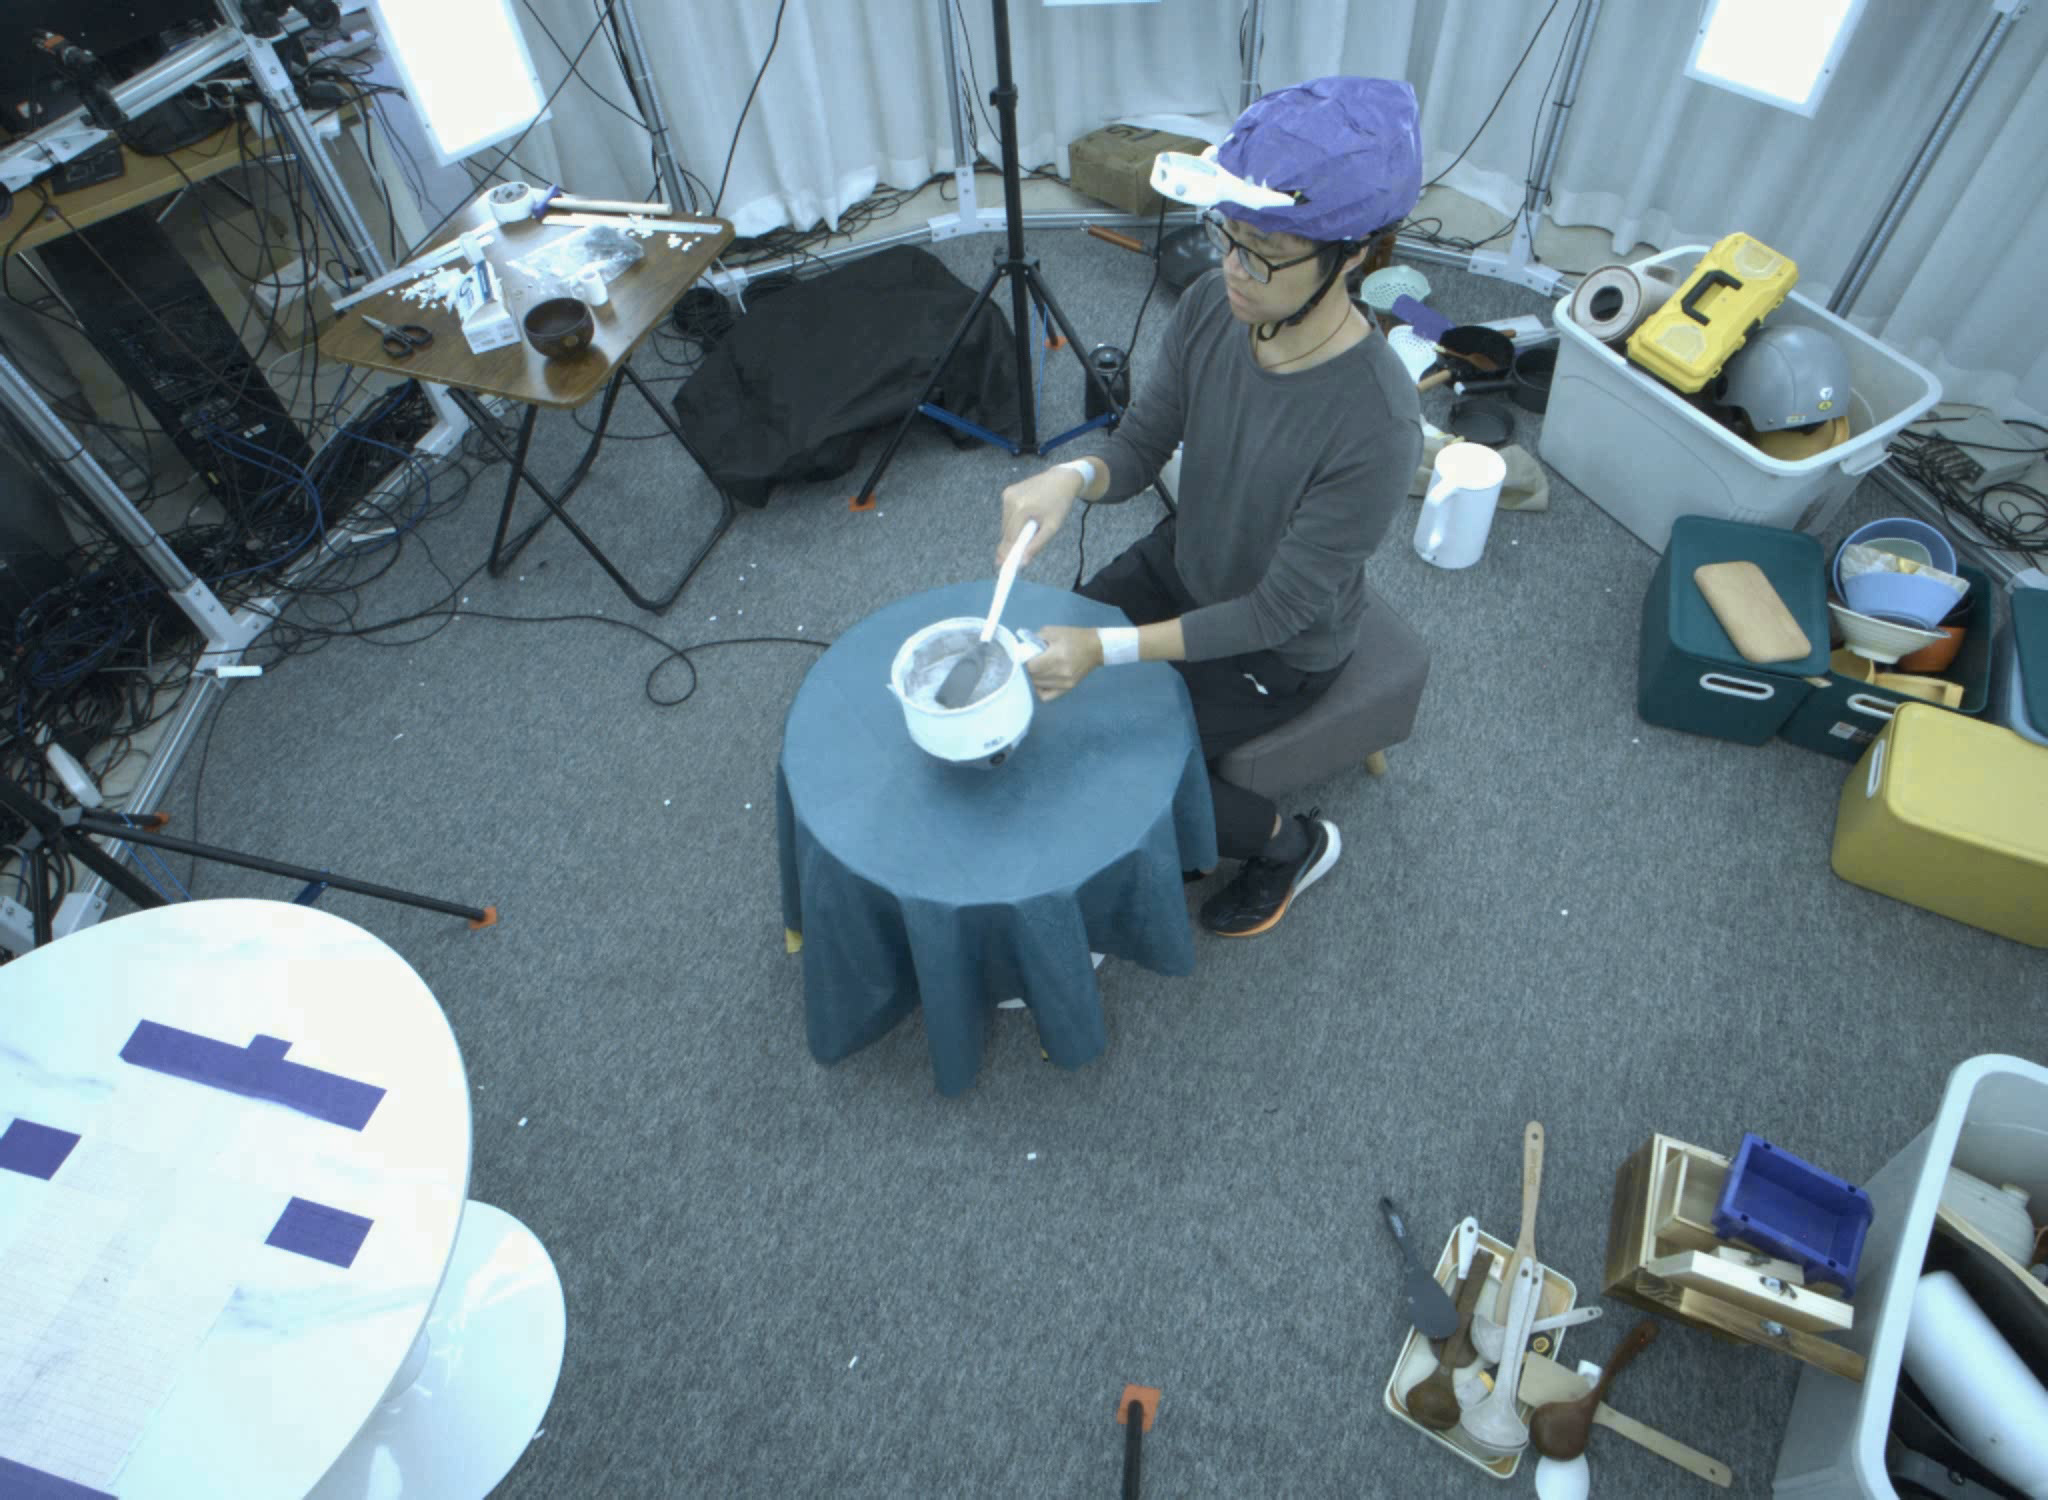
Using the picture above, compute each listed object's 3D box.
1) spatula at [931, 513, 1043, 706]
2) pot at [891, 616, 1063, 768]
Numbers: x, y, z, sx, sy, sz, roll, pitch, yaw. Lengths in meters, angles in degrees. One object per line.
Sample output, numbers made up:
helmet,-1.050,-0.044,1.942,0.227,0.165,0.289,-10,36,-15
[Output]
spatula,-0.048,-0.186,1.676,0.057,0.033,0.287,26,94,28
pot,-0.058,-0.090,1.703,0.235,0.138,0.175,-27,52,-12
